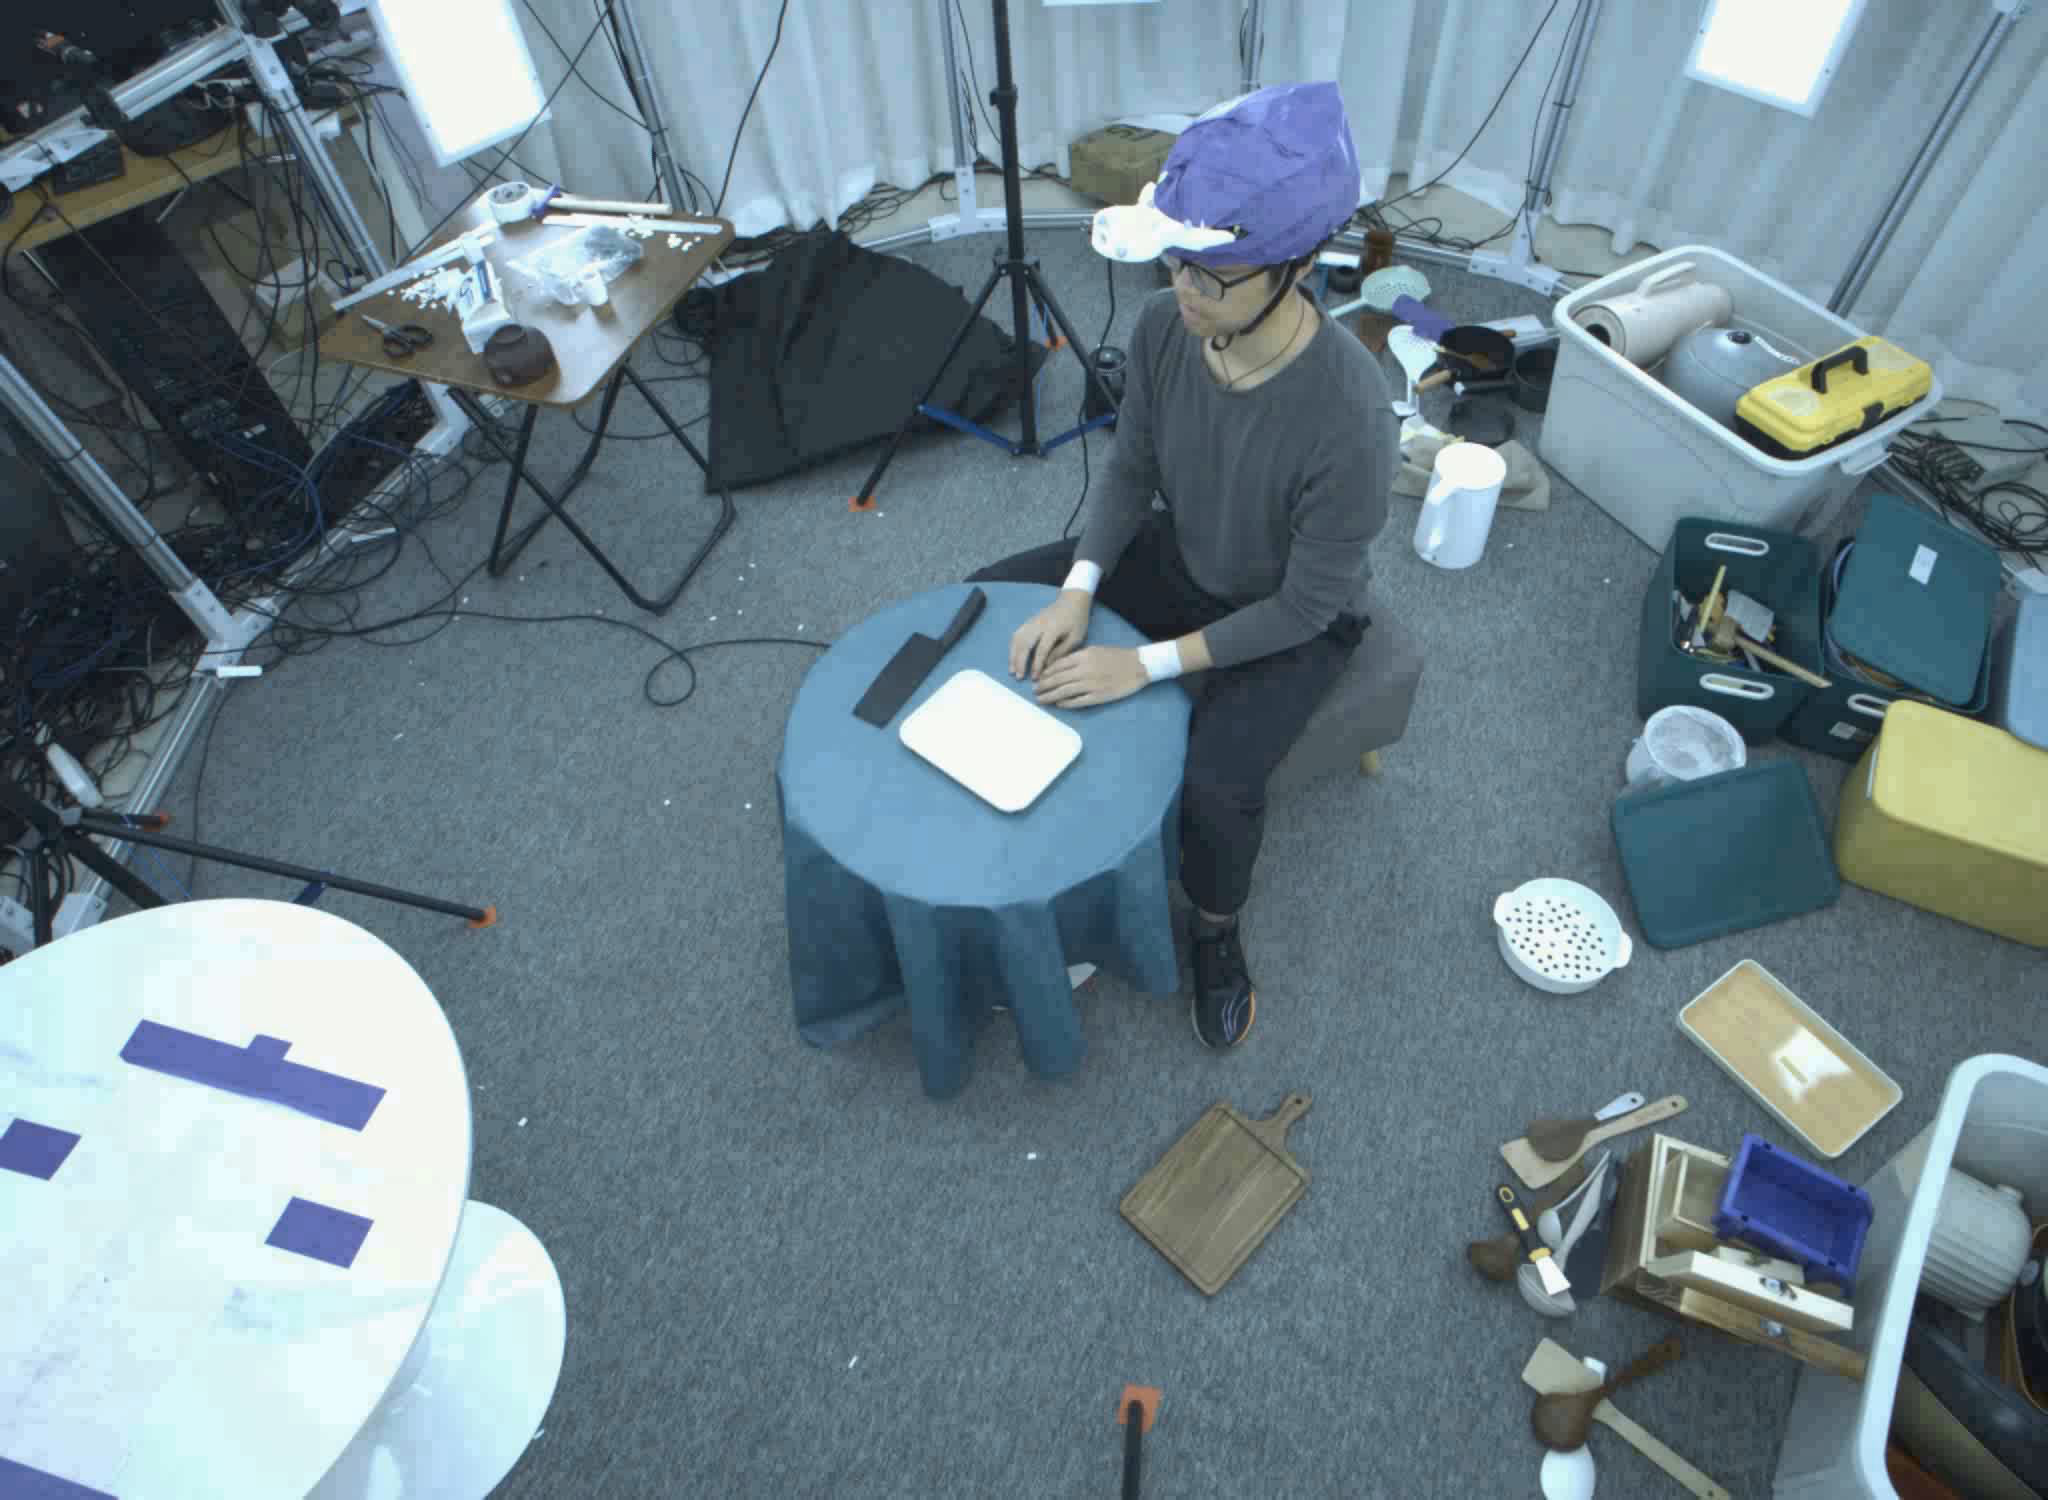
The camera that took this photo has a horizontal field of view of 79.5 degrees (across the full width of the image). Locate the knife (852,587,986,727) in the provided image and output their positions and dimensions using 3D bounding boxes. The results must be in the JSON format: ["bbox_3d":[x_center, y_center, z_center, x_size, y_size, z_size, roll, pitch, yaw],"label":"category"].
[{"bbox_3d":[-0.157,-0.151,1.899,0.079,0.021,0.303,29,62,22],"label":"knife"}]

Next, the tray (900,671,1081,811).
[{"bbox_3d":[-0.049,-0.015,1.796,0.236,0.017,0.172,33,61,22],"label":"tray"}]
